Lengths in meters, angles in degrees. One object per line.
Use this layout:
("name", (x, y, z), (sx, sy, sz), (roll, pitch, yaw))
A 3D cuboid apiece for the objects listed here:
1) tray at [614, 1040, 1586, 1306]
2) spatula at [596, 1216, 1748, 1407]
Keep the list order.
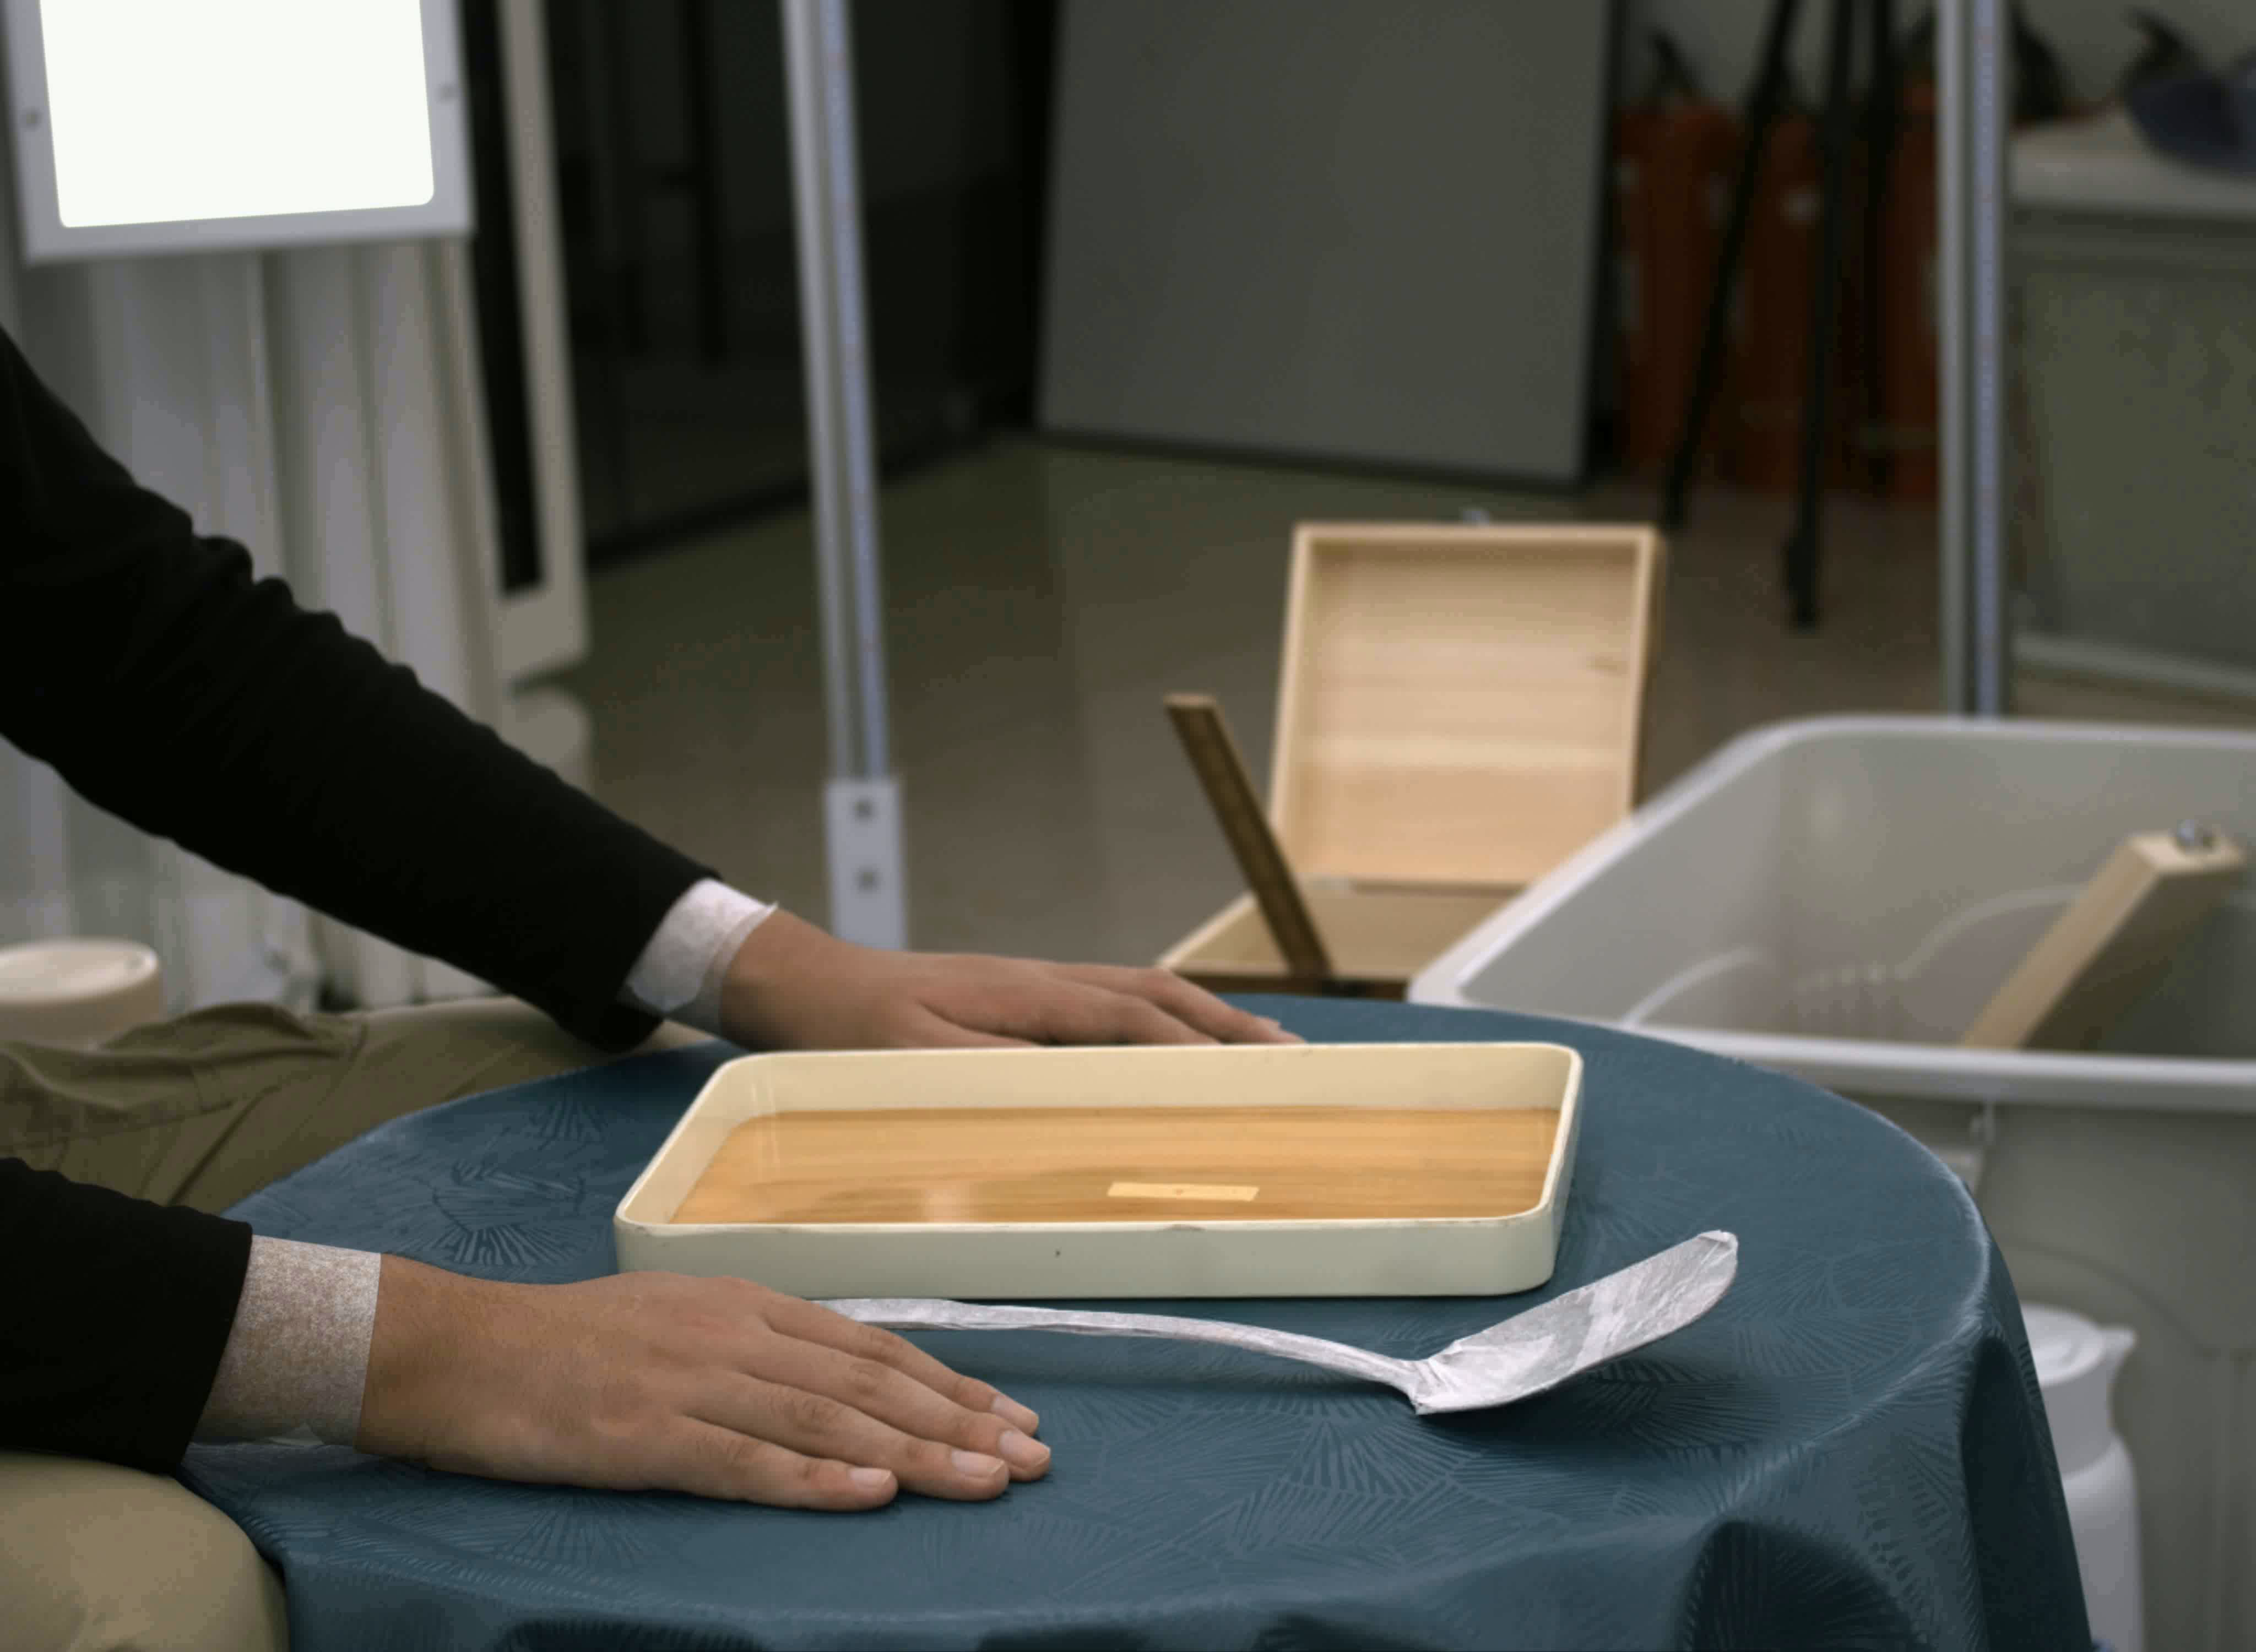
("tray", (-0.004, 0.112, 1.752), (0.298, 0.028, 0.191), (-2, 14, 11))
("spatula", (0.004, 0.144, 1.595), (0.364, 0.045, 0.098), (1, 15, 18))
